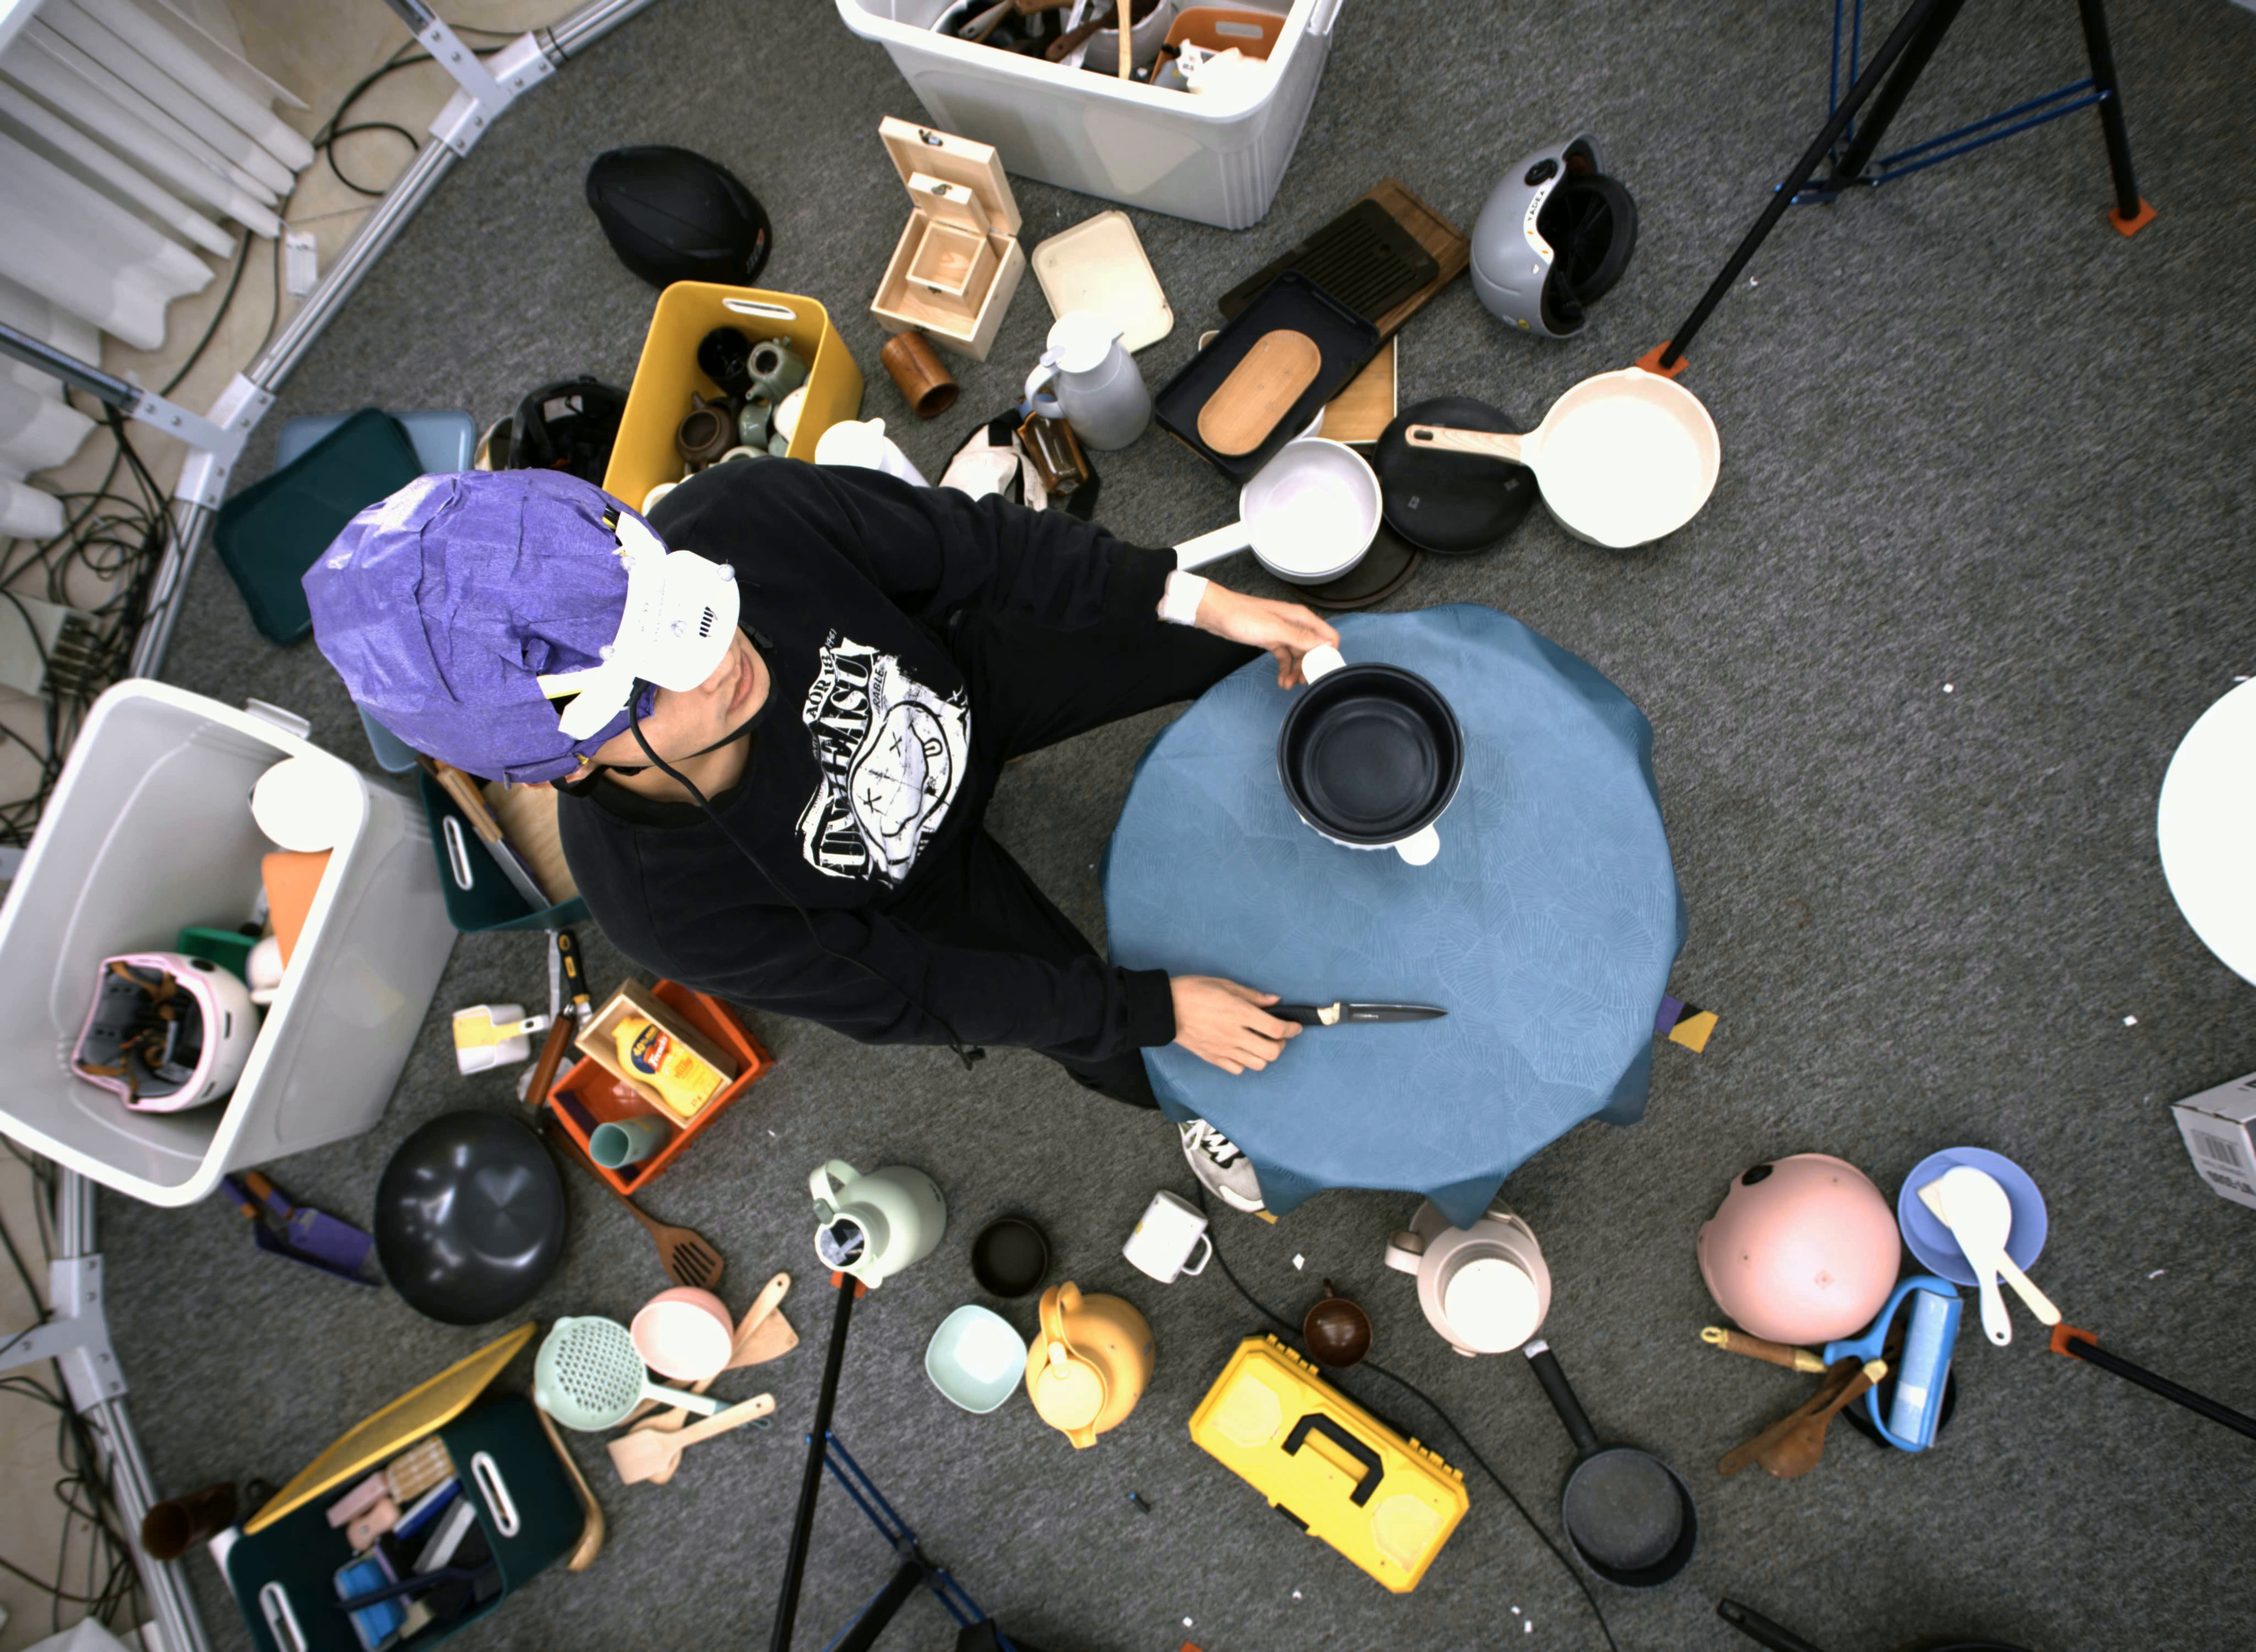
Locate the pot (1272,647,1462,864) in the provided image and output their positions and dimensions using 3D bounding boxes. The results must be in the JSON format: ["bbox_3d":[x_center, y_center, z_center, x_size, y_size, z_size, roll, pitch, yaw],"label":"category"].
[{"bbox_3d":[0.249,-0.070,1.401,0.192,0.142,0.239,-29,83,10],"label":"pot"}]

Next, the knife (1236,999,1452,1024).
[{"bbox_3d":[0.225,0.193,1.455,0.226,0.017,0.026,-2,104,12],"label":"knife"}]
